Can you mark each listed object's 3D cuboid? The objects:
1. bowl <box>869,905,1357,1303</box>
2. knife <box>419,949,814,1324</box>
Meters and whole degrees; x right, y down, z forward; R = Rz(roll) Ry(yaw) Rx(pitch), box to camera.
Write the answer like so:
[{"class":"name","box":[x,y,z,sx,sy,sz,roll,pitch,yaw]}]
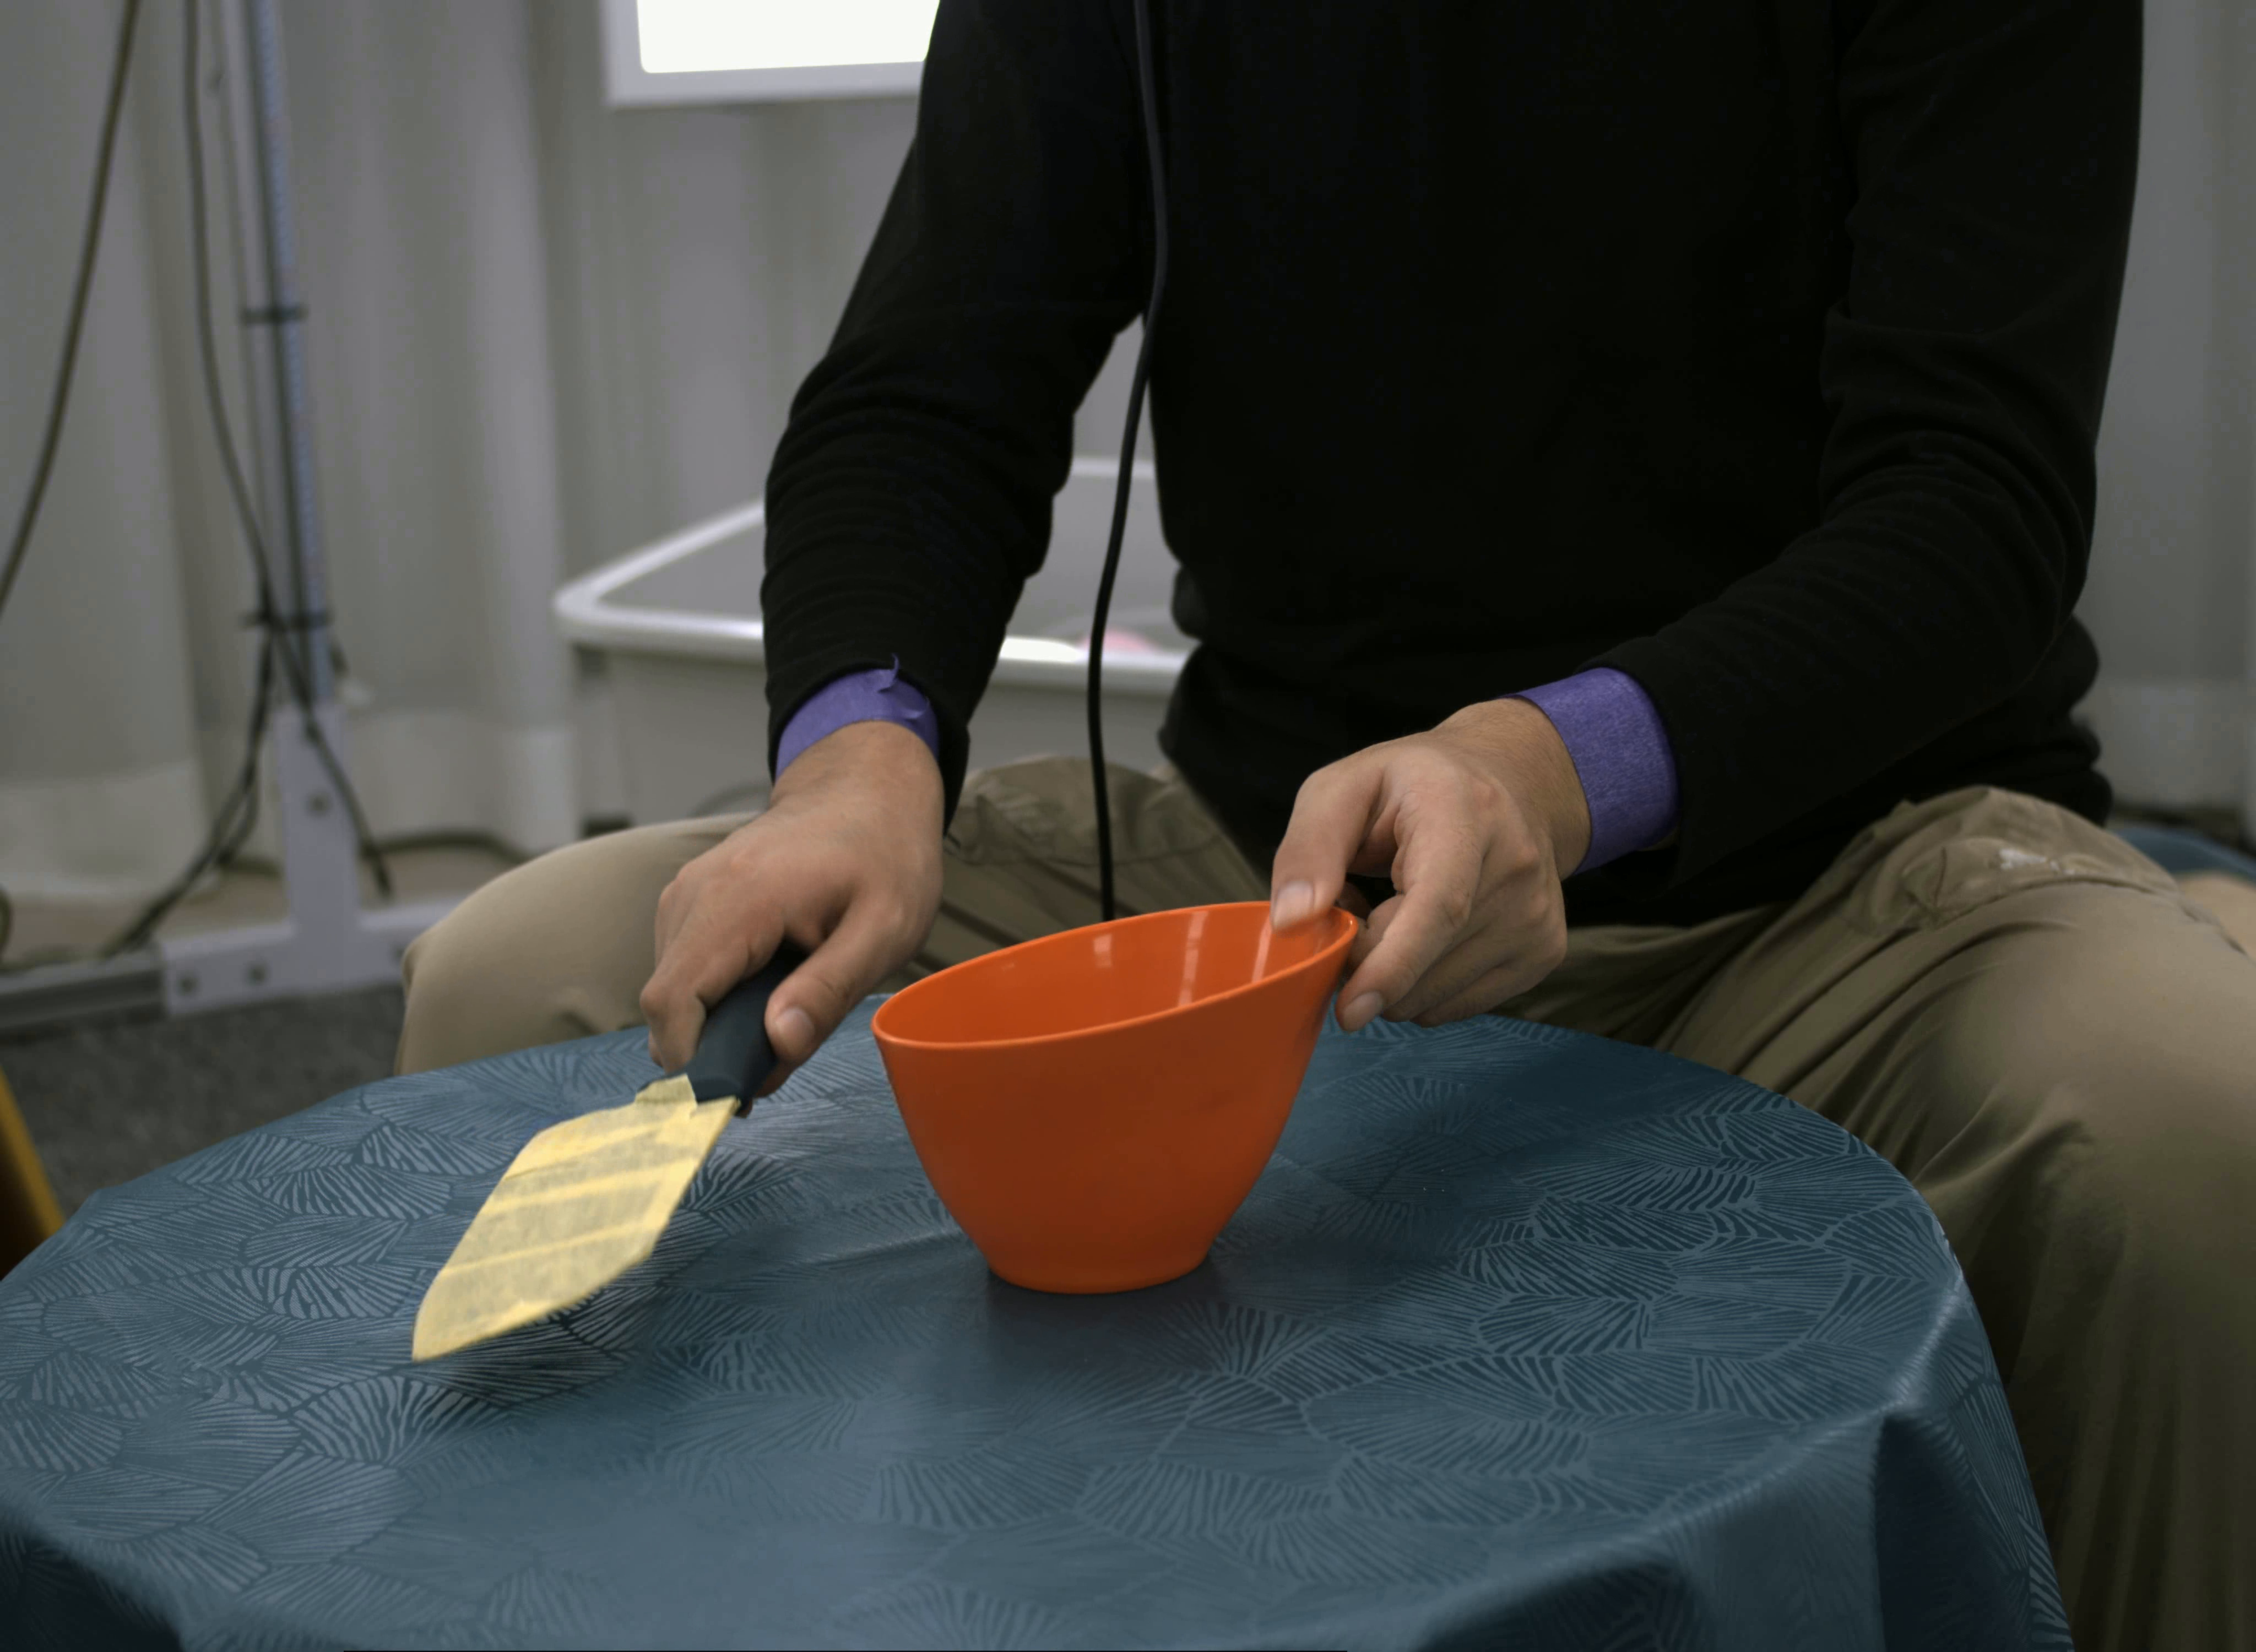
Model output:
[{"class":"bowl","box":[-0.002,0.084,1.636,0.147,0.104,0.149,-4,15,1]},{"class":"knife","box":[-0.152,0.095,1.676,0.081,0.027,0.291,-11,15,17]}]
